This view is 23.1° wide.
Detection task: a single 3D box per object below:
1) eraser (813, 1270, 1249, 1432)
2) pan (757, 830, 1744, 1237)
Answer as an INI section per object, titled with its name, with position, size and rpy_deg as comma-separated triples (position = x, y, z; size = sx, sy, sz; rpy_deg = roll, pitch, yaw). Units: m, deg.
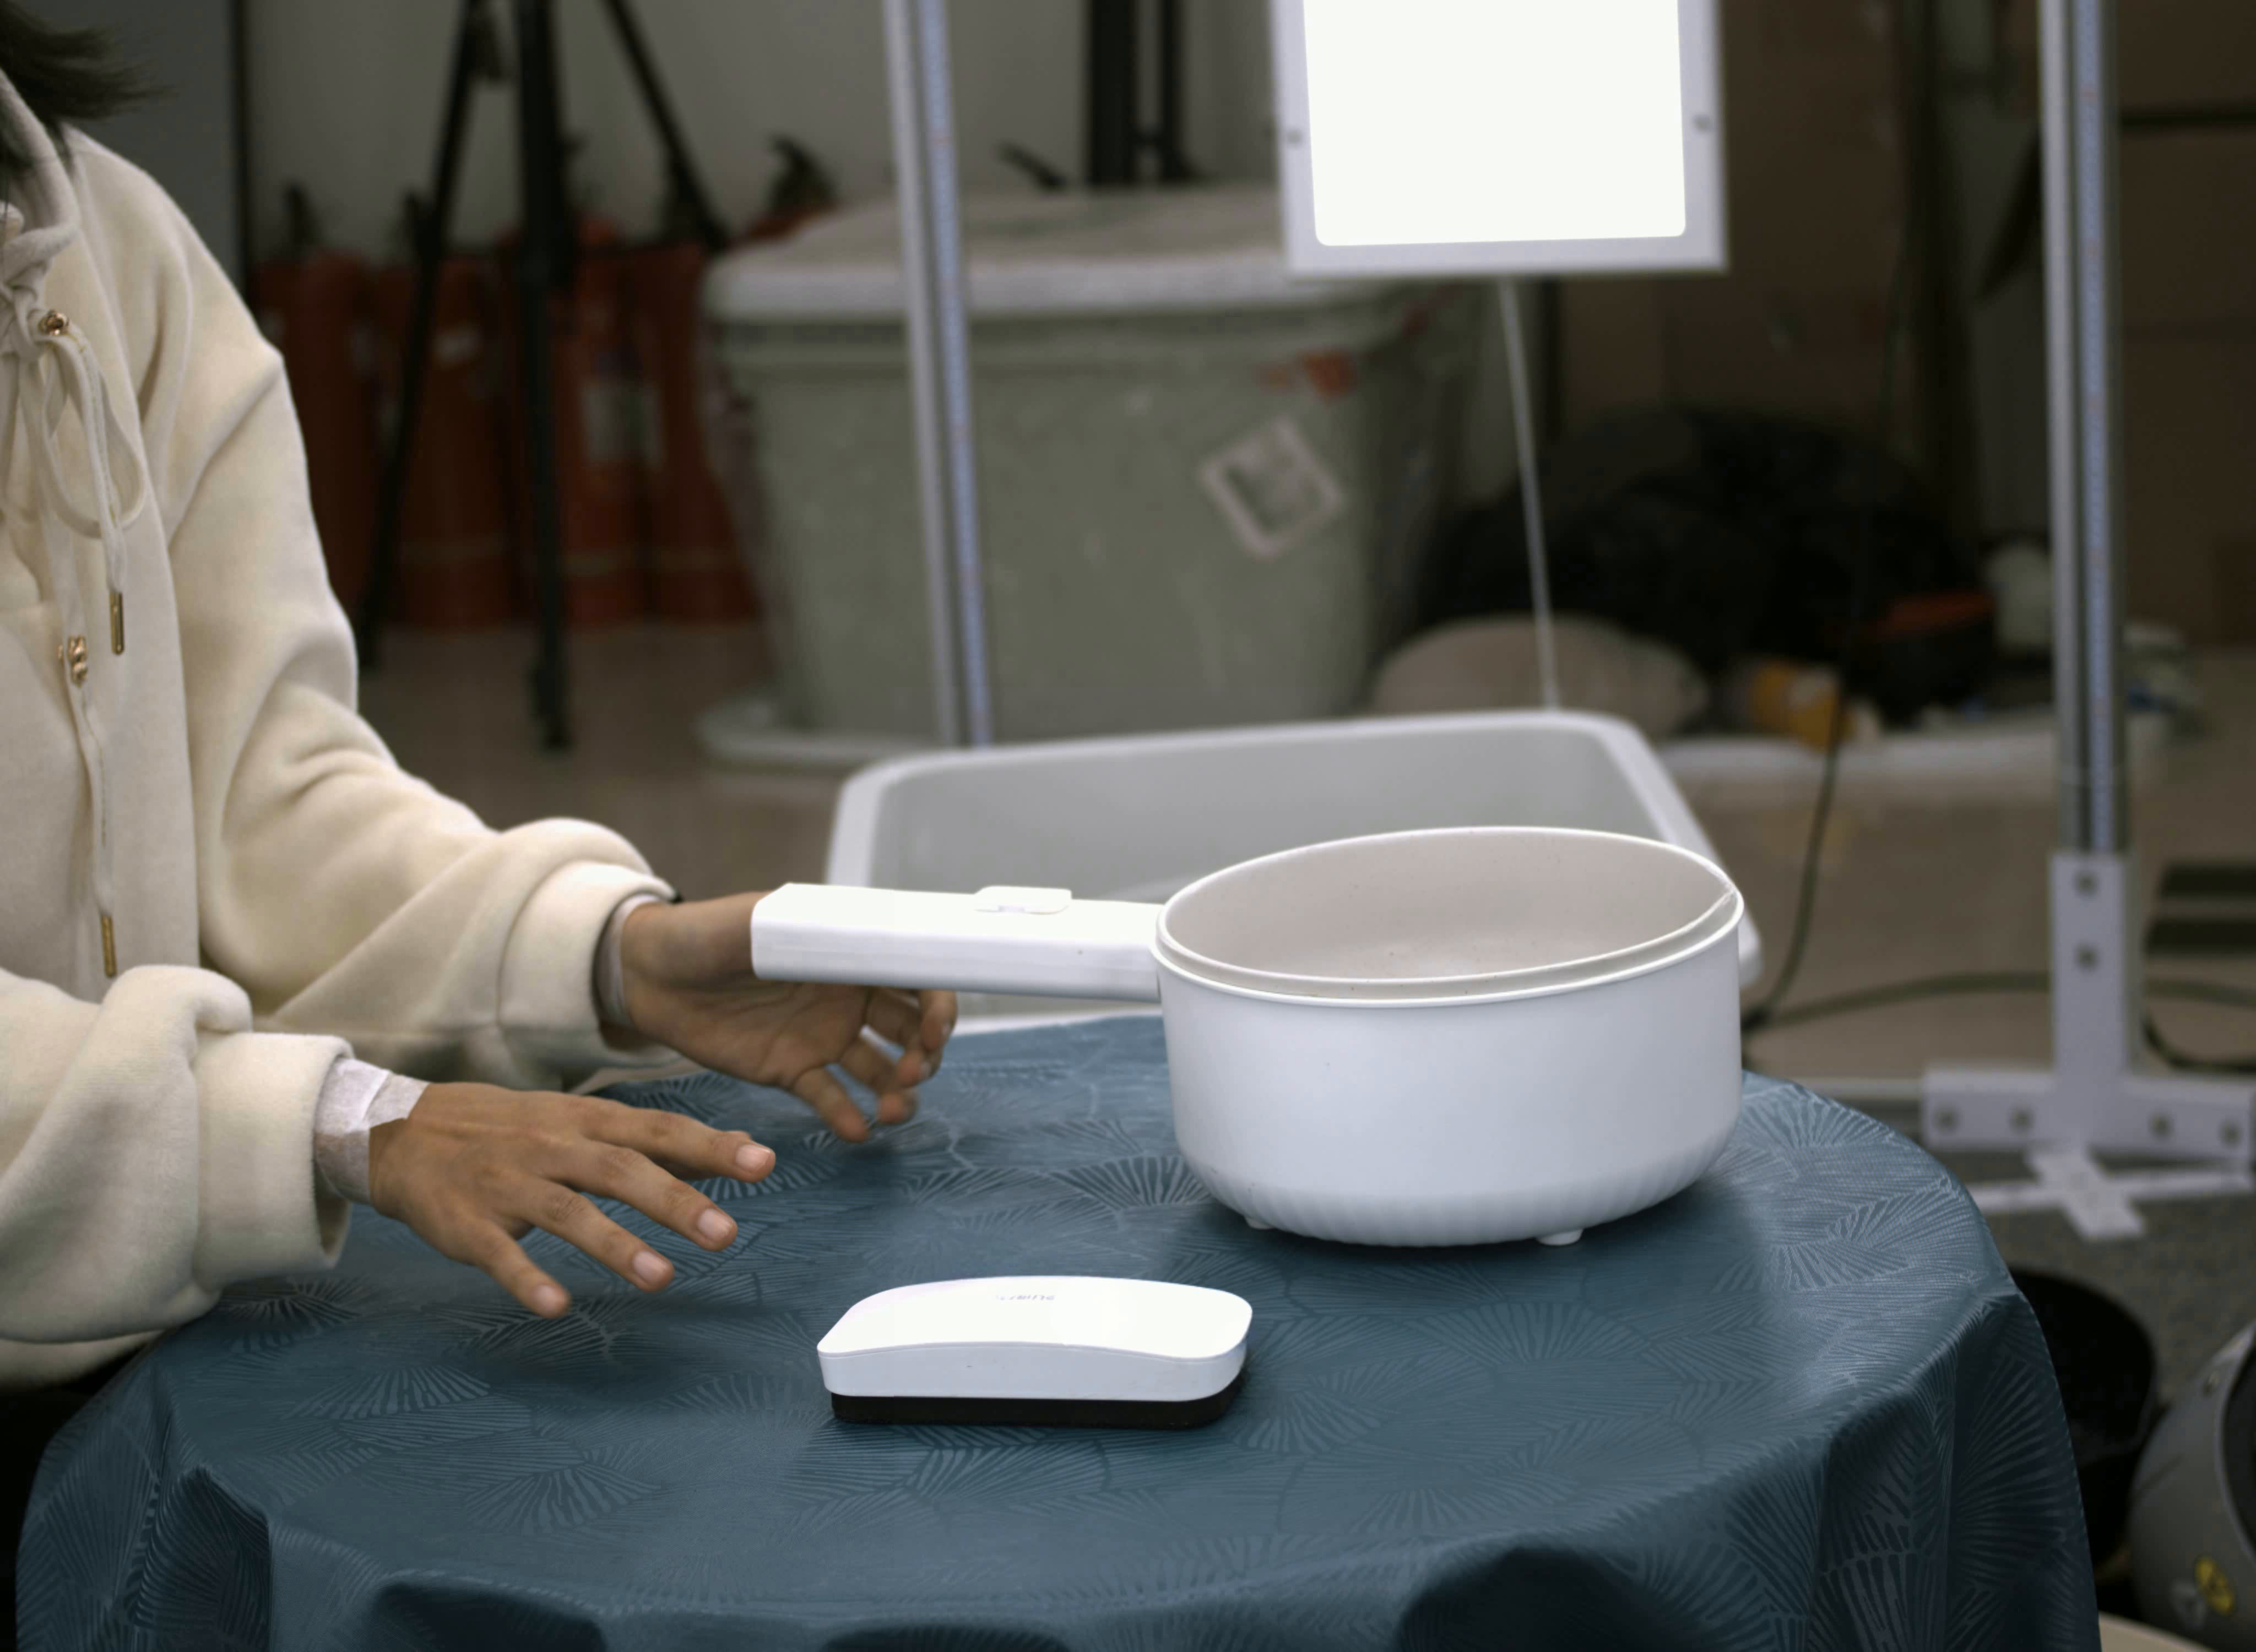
[eraser]
position = -0.029, 0.162, 1.700
size = 0.133, 0.034, 0.062
rpy_deg = 0, 12, 17
[pan]
position = 0.040, 0.073, 1.893
size = 0.360, 0.102, 0.197
rpy_deg = -1, 13, 25
